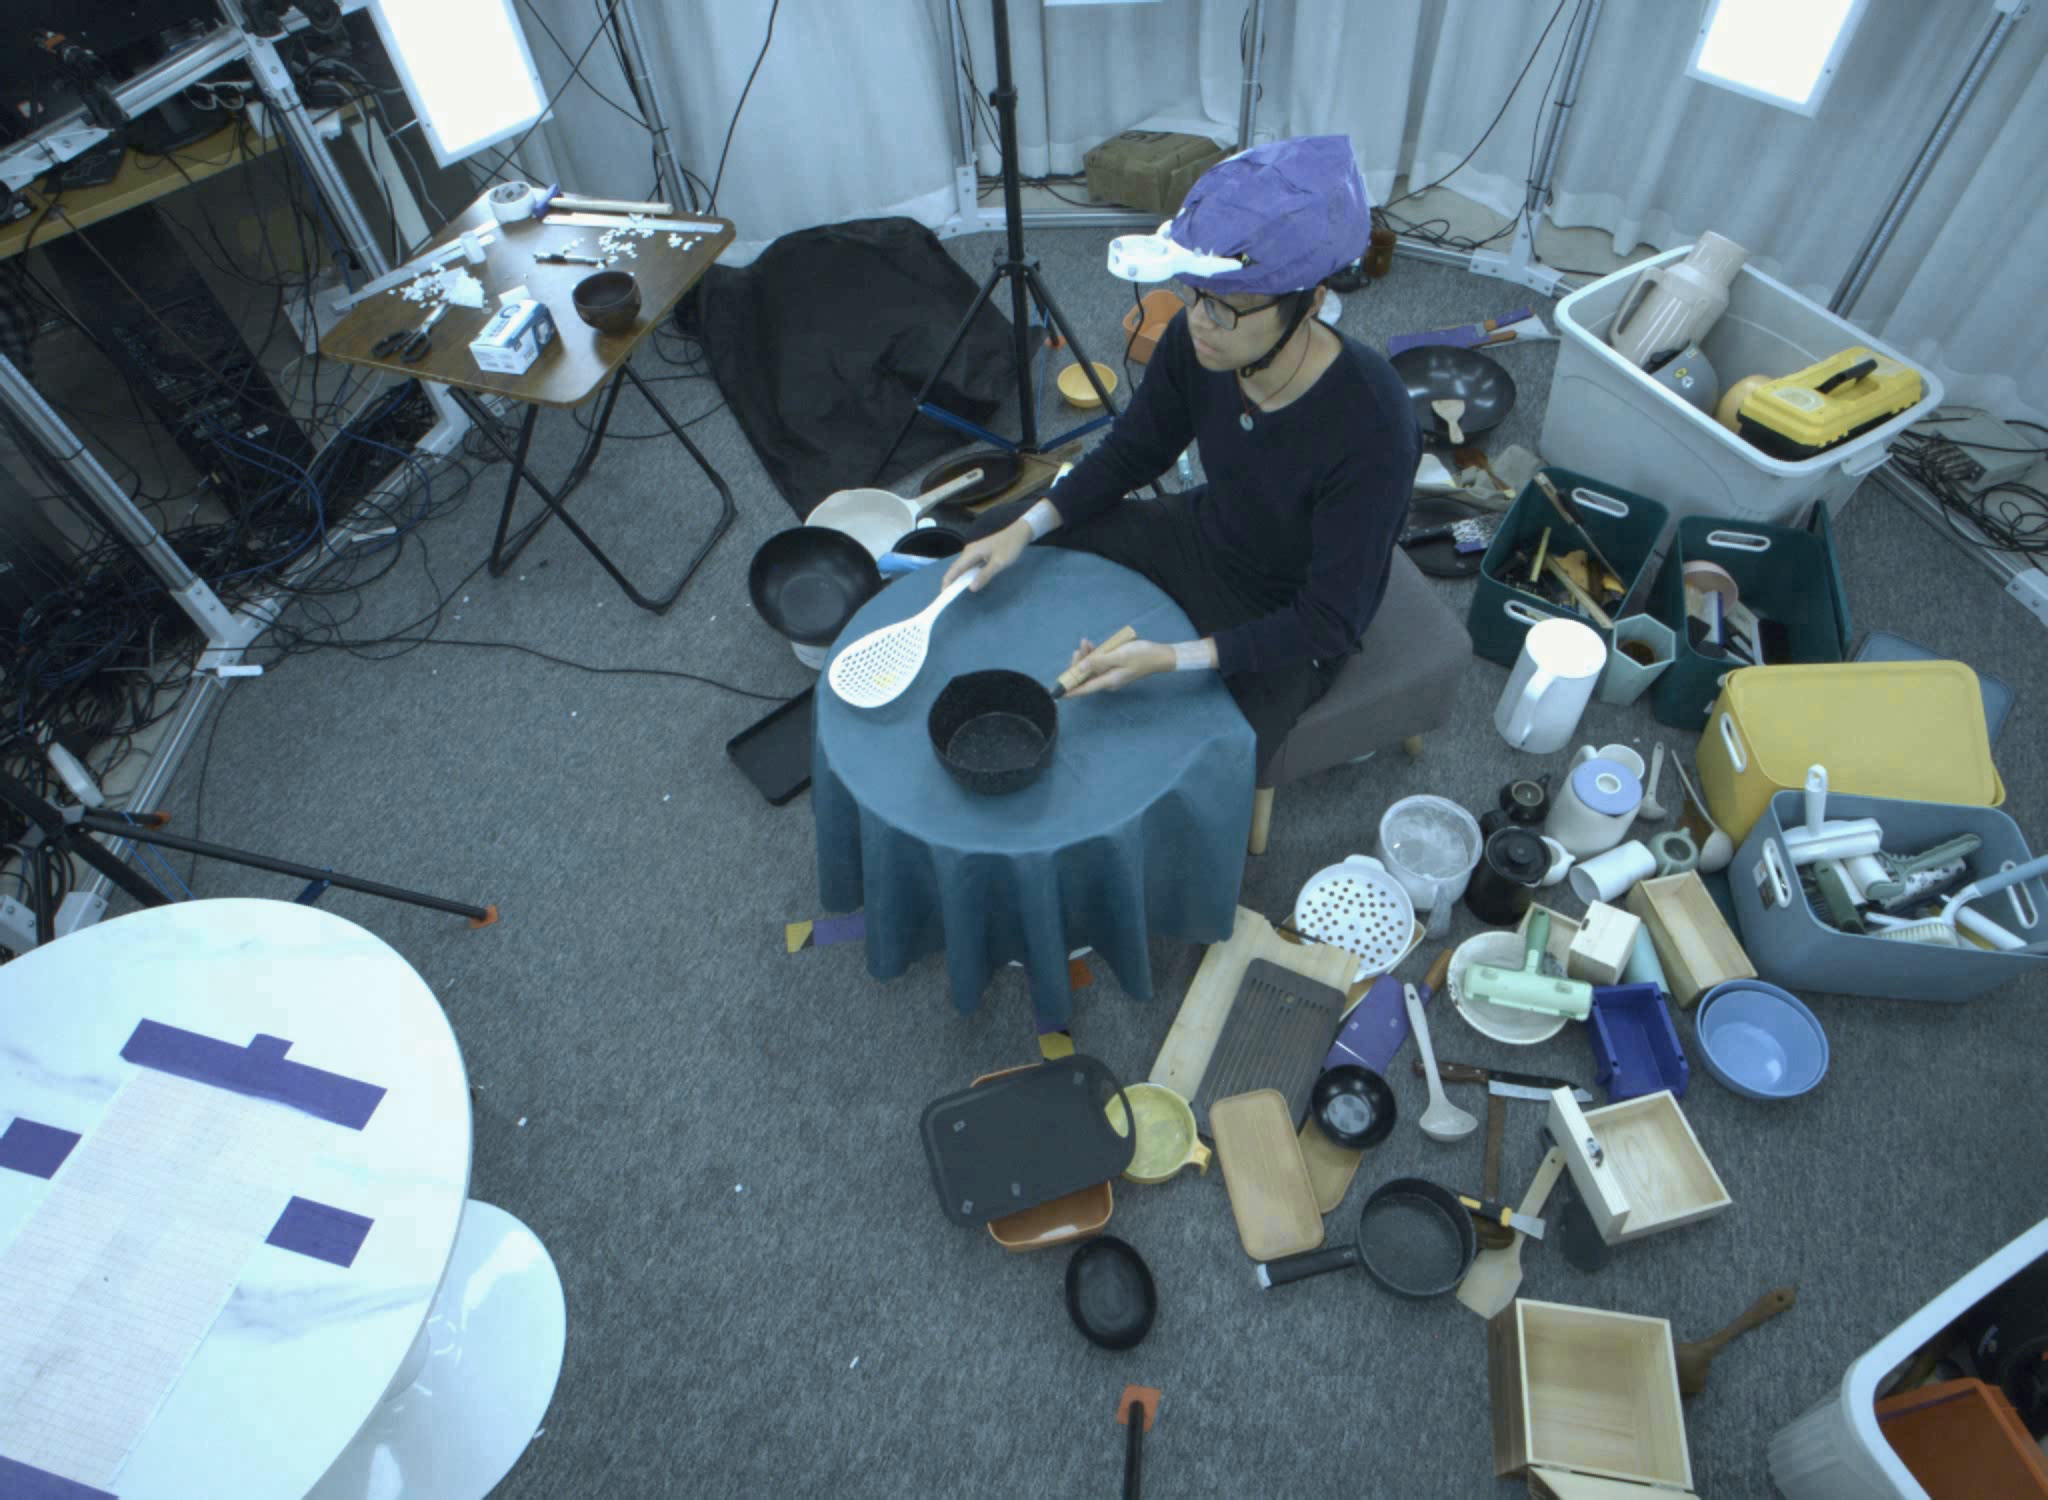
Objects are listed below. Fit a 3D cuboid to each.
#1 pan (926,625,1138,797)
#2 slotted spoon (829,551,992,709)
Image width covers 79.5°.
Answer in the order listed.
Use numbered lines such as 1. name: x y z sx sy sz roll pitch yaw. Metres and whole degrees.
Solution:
1. pan: 0.022 -0.065 1.766 0.345 0.109 0.203 -33 58 -18
2. slotted spoon: -0.157 -0.193 1.881 0.134 0.051 0.349 29 71 28
